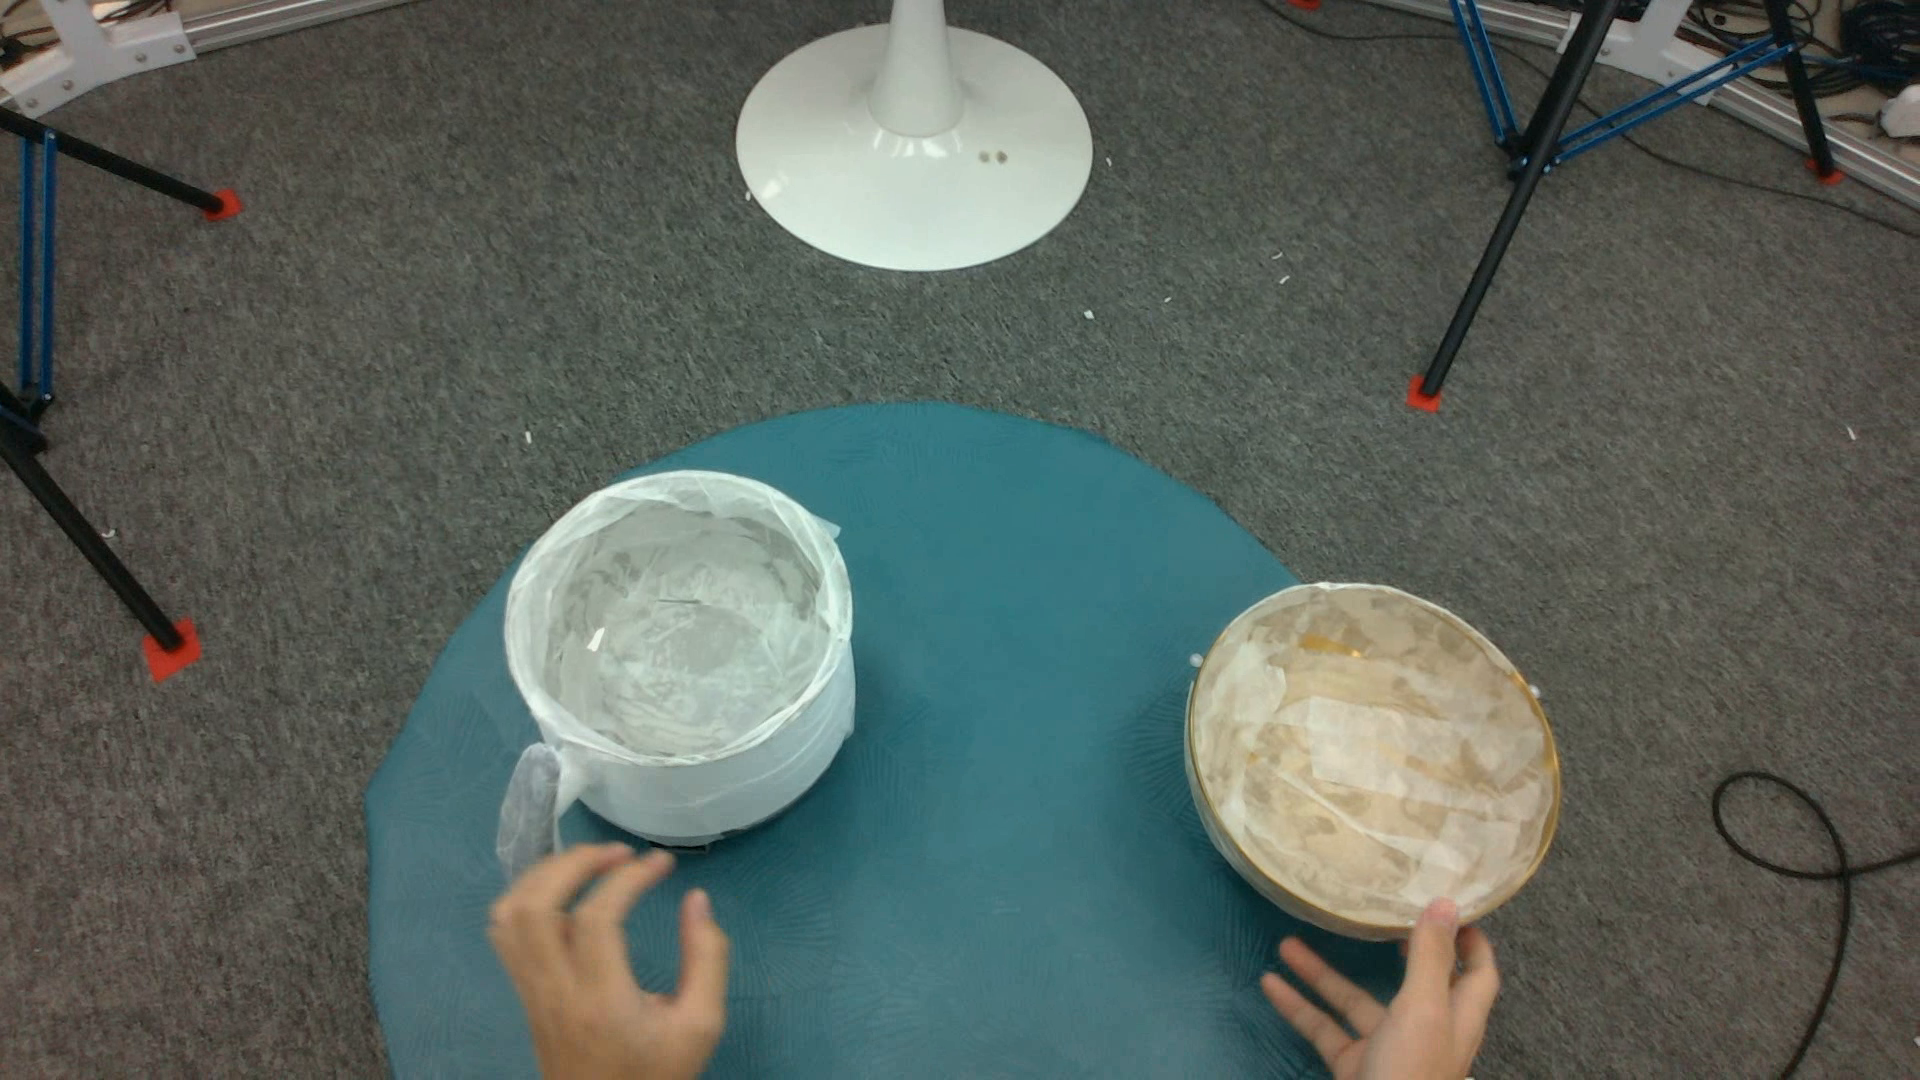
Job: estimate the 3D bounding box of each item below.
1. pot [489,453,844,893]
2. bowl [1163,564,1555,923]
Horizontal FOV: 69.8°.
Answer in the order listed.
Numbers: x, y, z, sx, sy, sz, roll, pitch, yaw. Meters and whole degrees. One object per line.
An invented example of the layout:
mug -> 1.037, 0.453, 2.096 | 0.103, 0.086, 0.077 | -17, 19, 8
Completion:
pot -> -0.168, 0.081, 0.752 | 0.179, 0.136, 0.235 | 29, 60, 14
bowl -> 0.212, 0.125, 0.777 | 0.215, 0.094, 0.215 | 2, 59, -4
